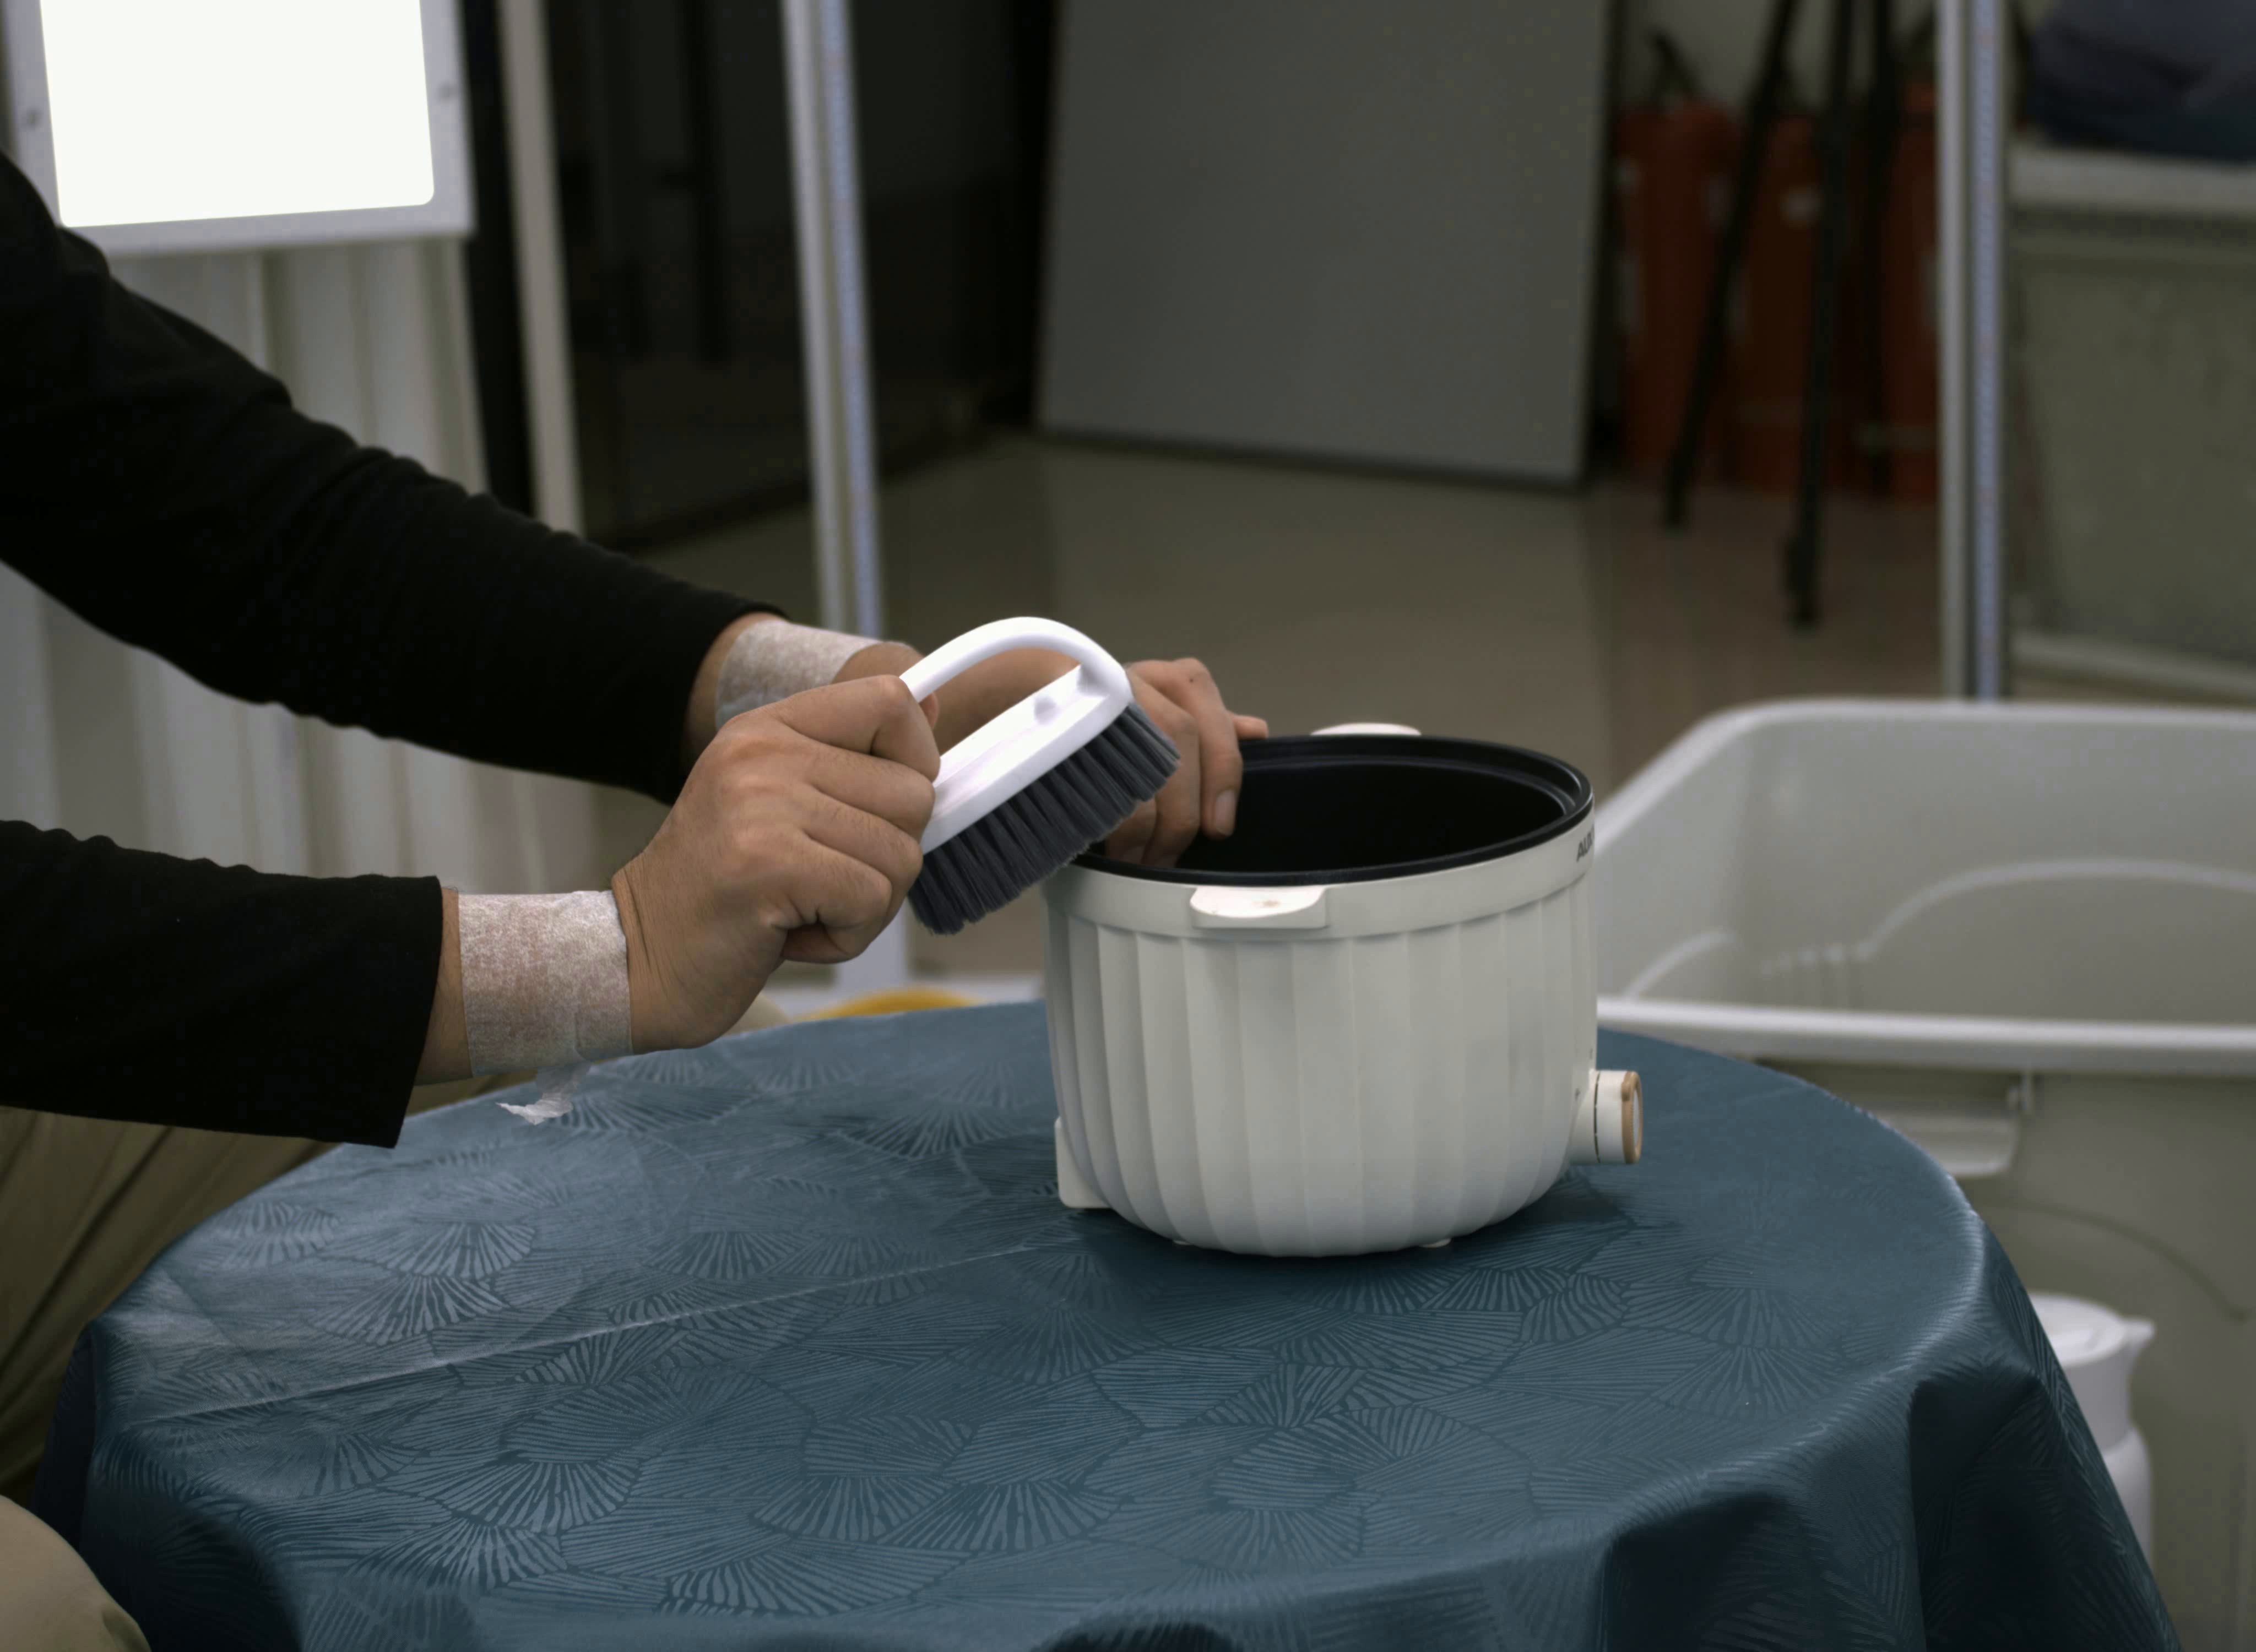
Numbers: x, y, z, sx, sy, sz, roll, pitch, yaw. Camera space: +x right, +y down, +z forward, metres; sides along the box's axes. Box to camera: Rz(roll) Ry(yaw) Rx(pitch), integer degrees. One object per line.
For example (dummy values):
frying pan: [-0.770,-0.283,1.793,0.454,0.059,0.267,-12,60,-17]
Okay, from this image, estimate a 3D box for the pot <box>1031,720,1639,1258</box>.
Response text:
pot: [0.066,0.054,1.730,0.189,0.144,0.239,-4,15,13]

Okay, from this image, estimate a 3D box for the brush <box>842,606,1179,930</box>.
brush: [-0.043,-0.025,1.662,0.099,0.072,0.050,-35,20,3]
